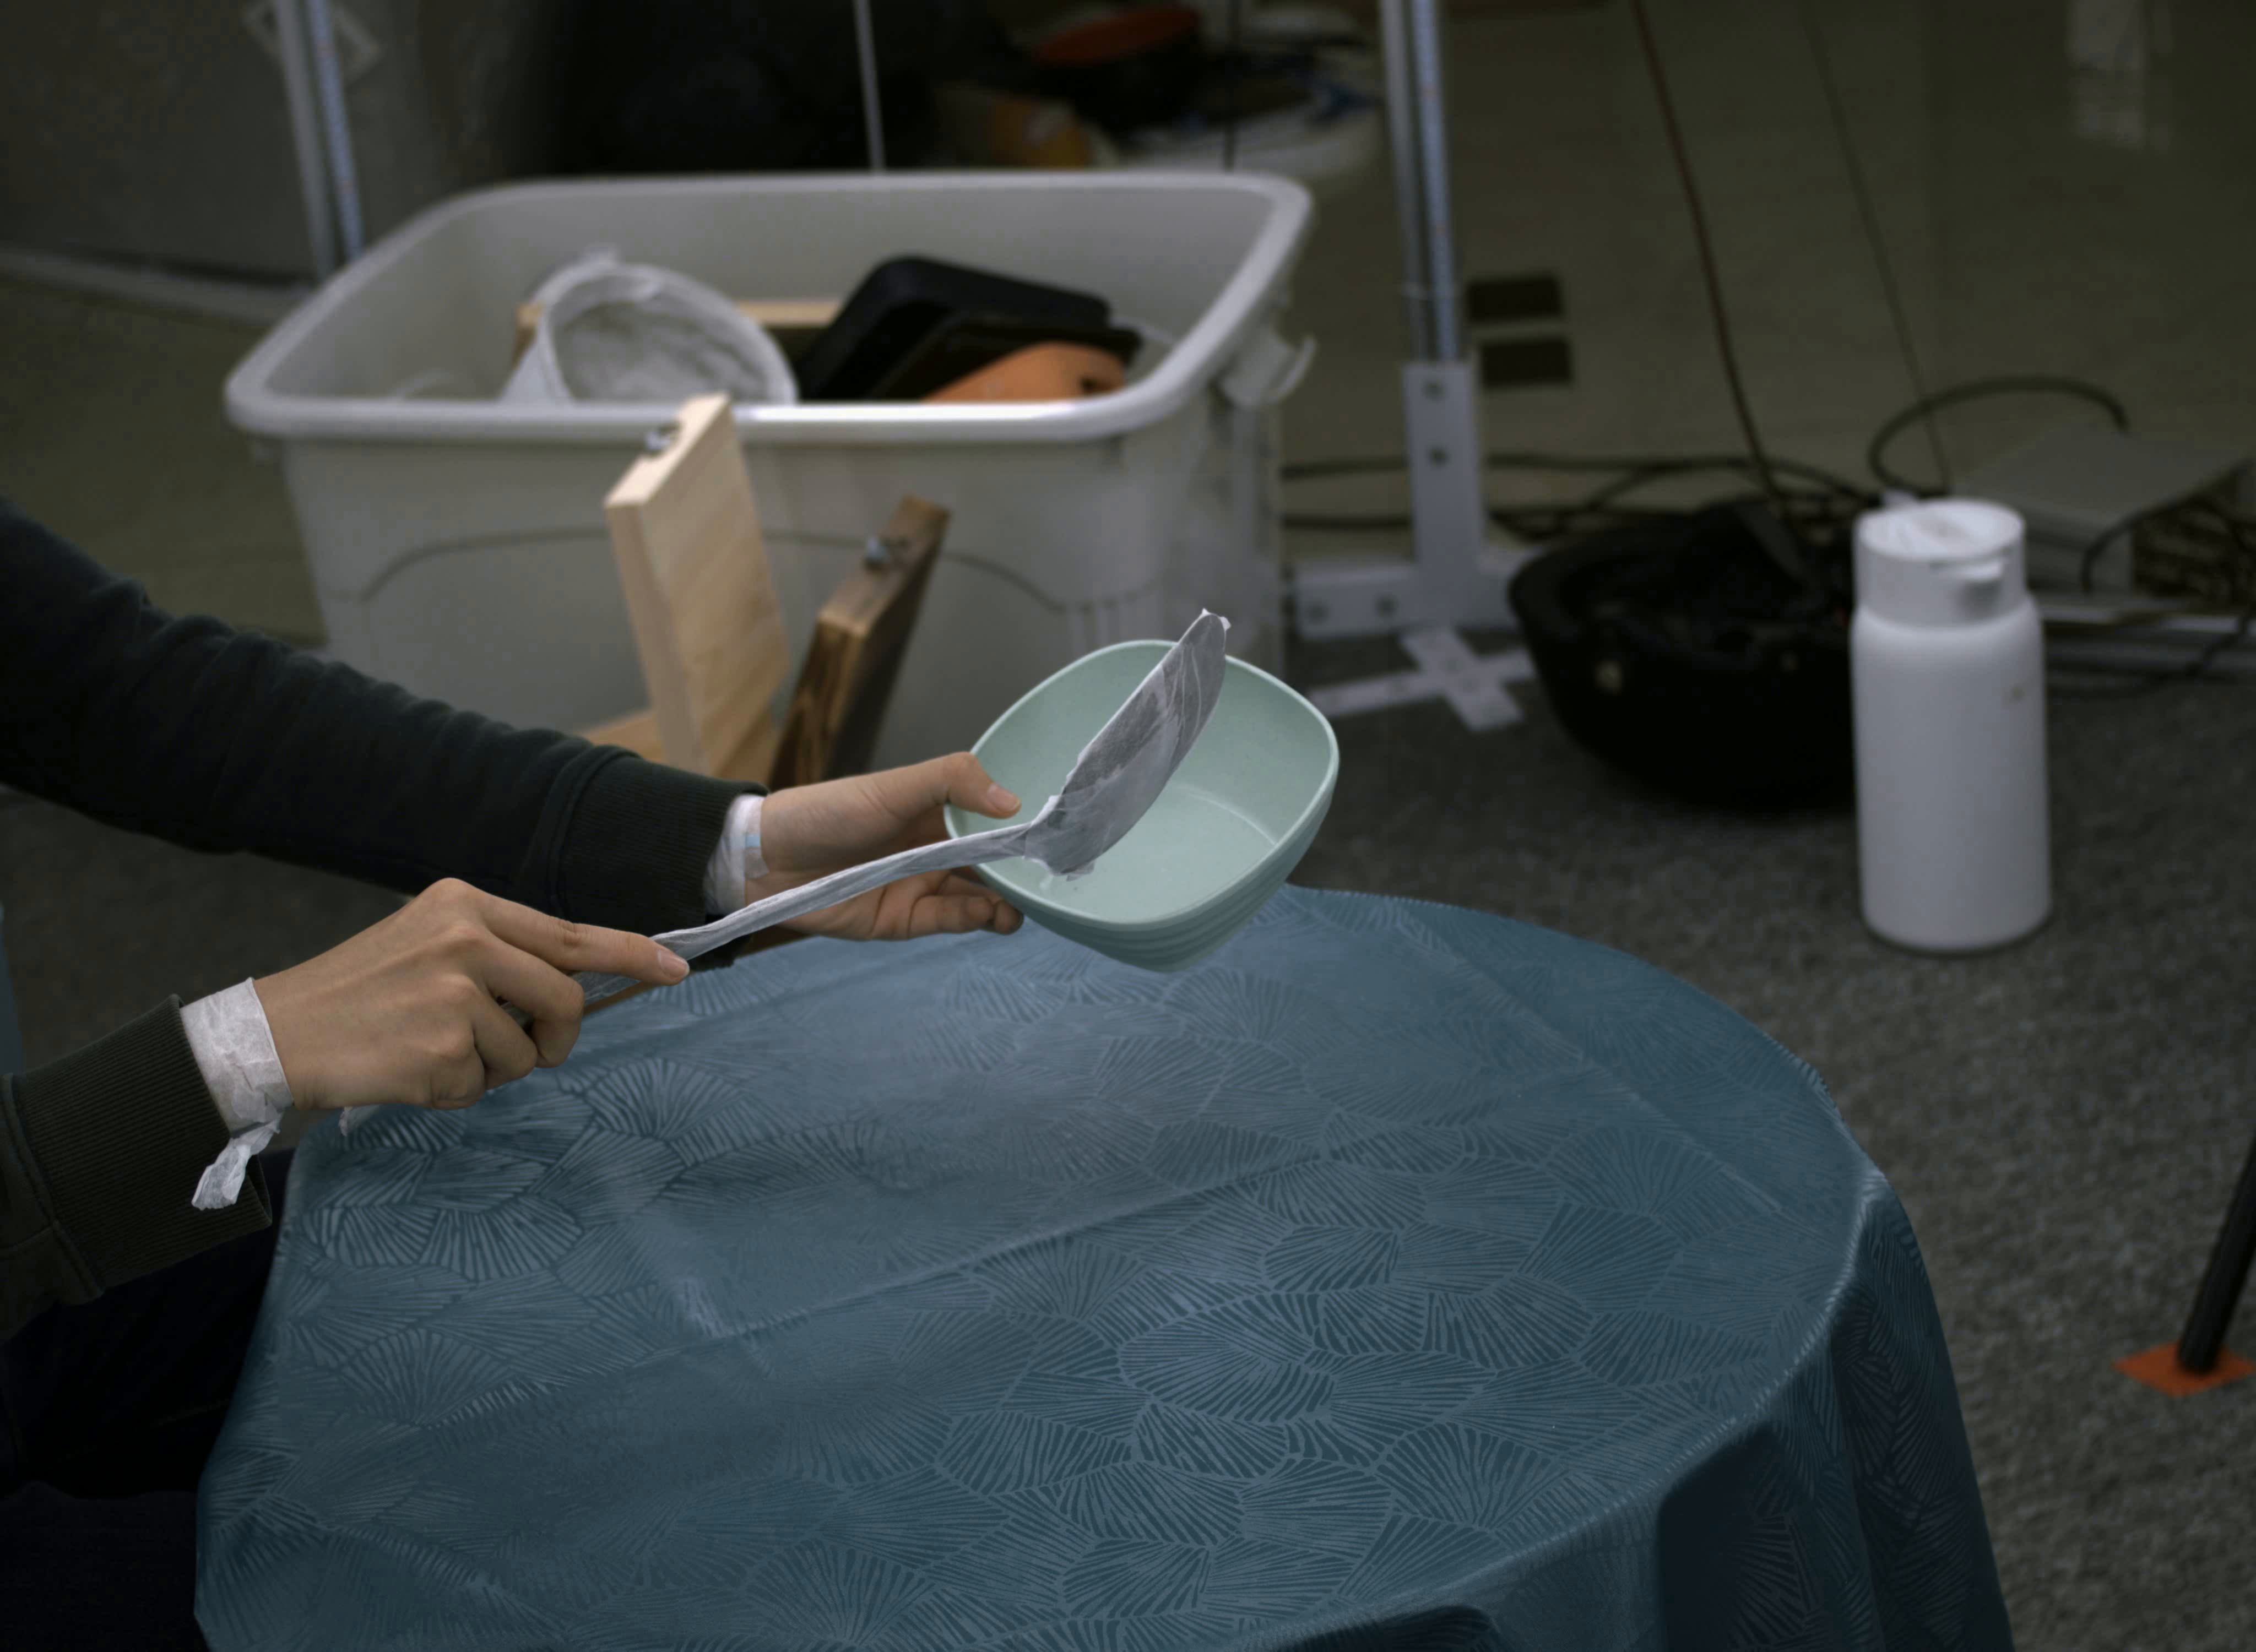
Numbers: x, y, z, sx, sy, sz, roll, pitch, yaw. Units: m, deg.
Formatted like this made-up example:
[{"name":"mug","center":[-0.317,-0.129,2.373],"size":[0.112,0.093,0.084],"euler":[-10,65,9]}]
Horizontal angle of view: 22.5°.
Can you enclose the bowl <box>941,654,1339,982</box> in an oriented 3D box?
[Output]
[{"name":"bowl","center":[0.008,0.005,2.147],"size":[0.151,0.060,0.148],"euler":[-6,44,6]}]

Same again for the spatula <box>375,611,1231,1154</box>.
[{"name":"spatula","center":[-0.110,0.024,1.984],"size":[0.363,0.100,0.044],"euler":[-23,62,-22]}]
